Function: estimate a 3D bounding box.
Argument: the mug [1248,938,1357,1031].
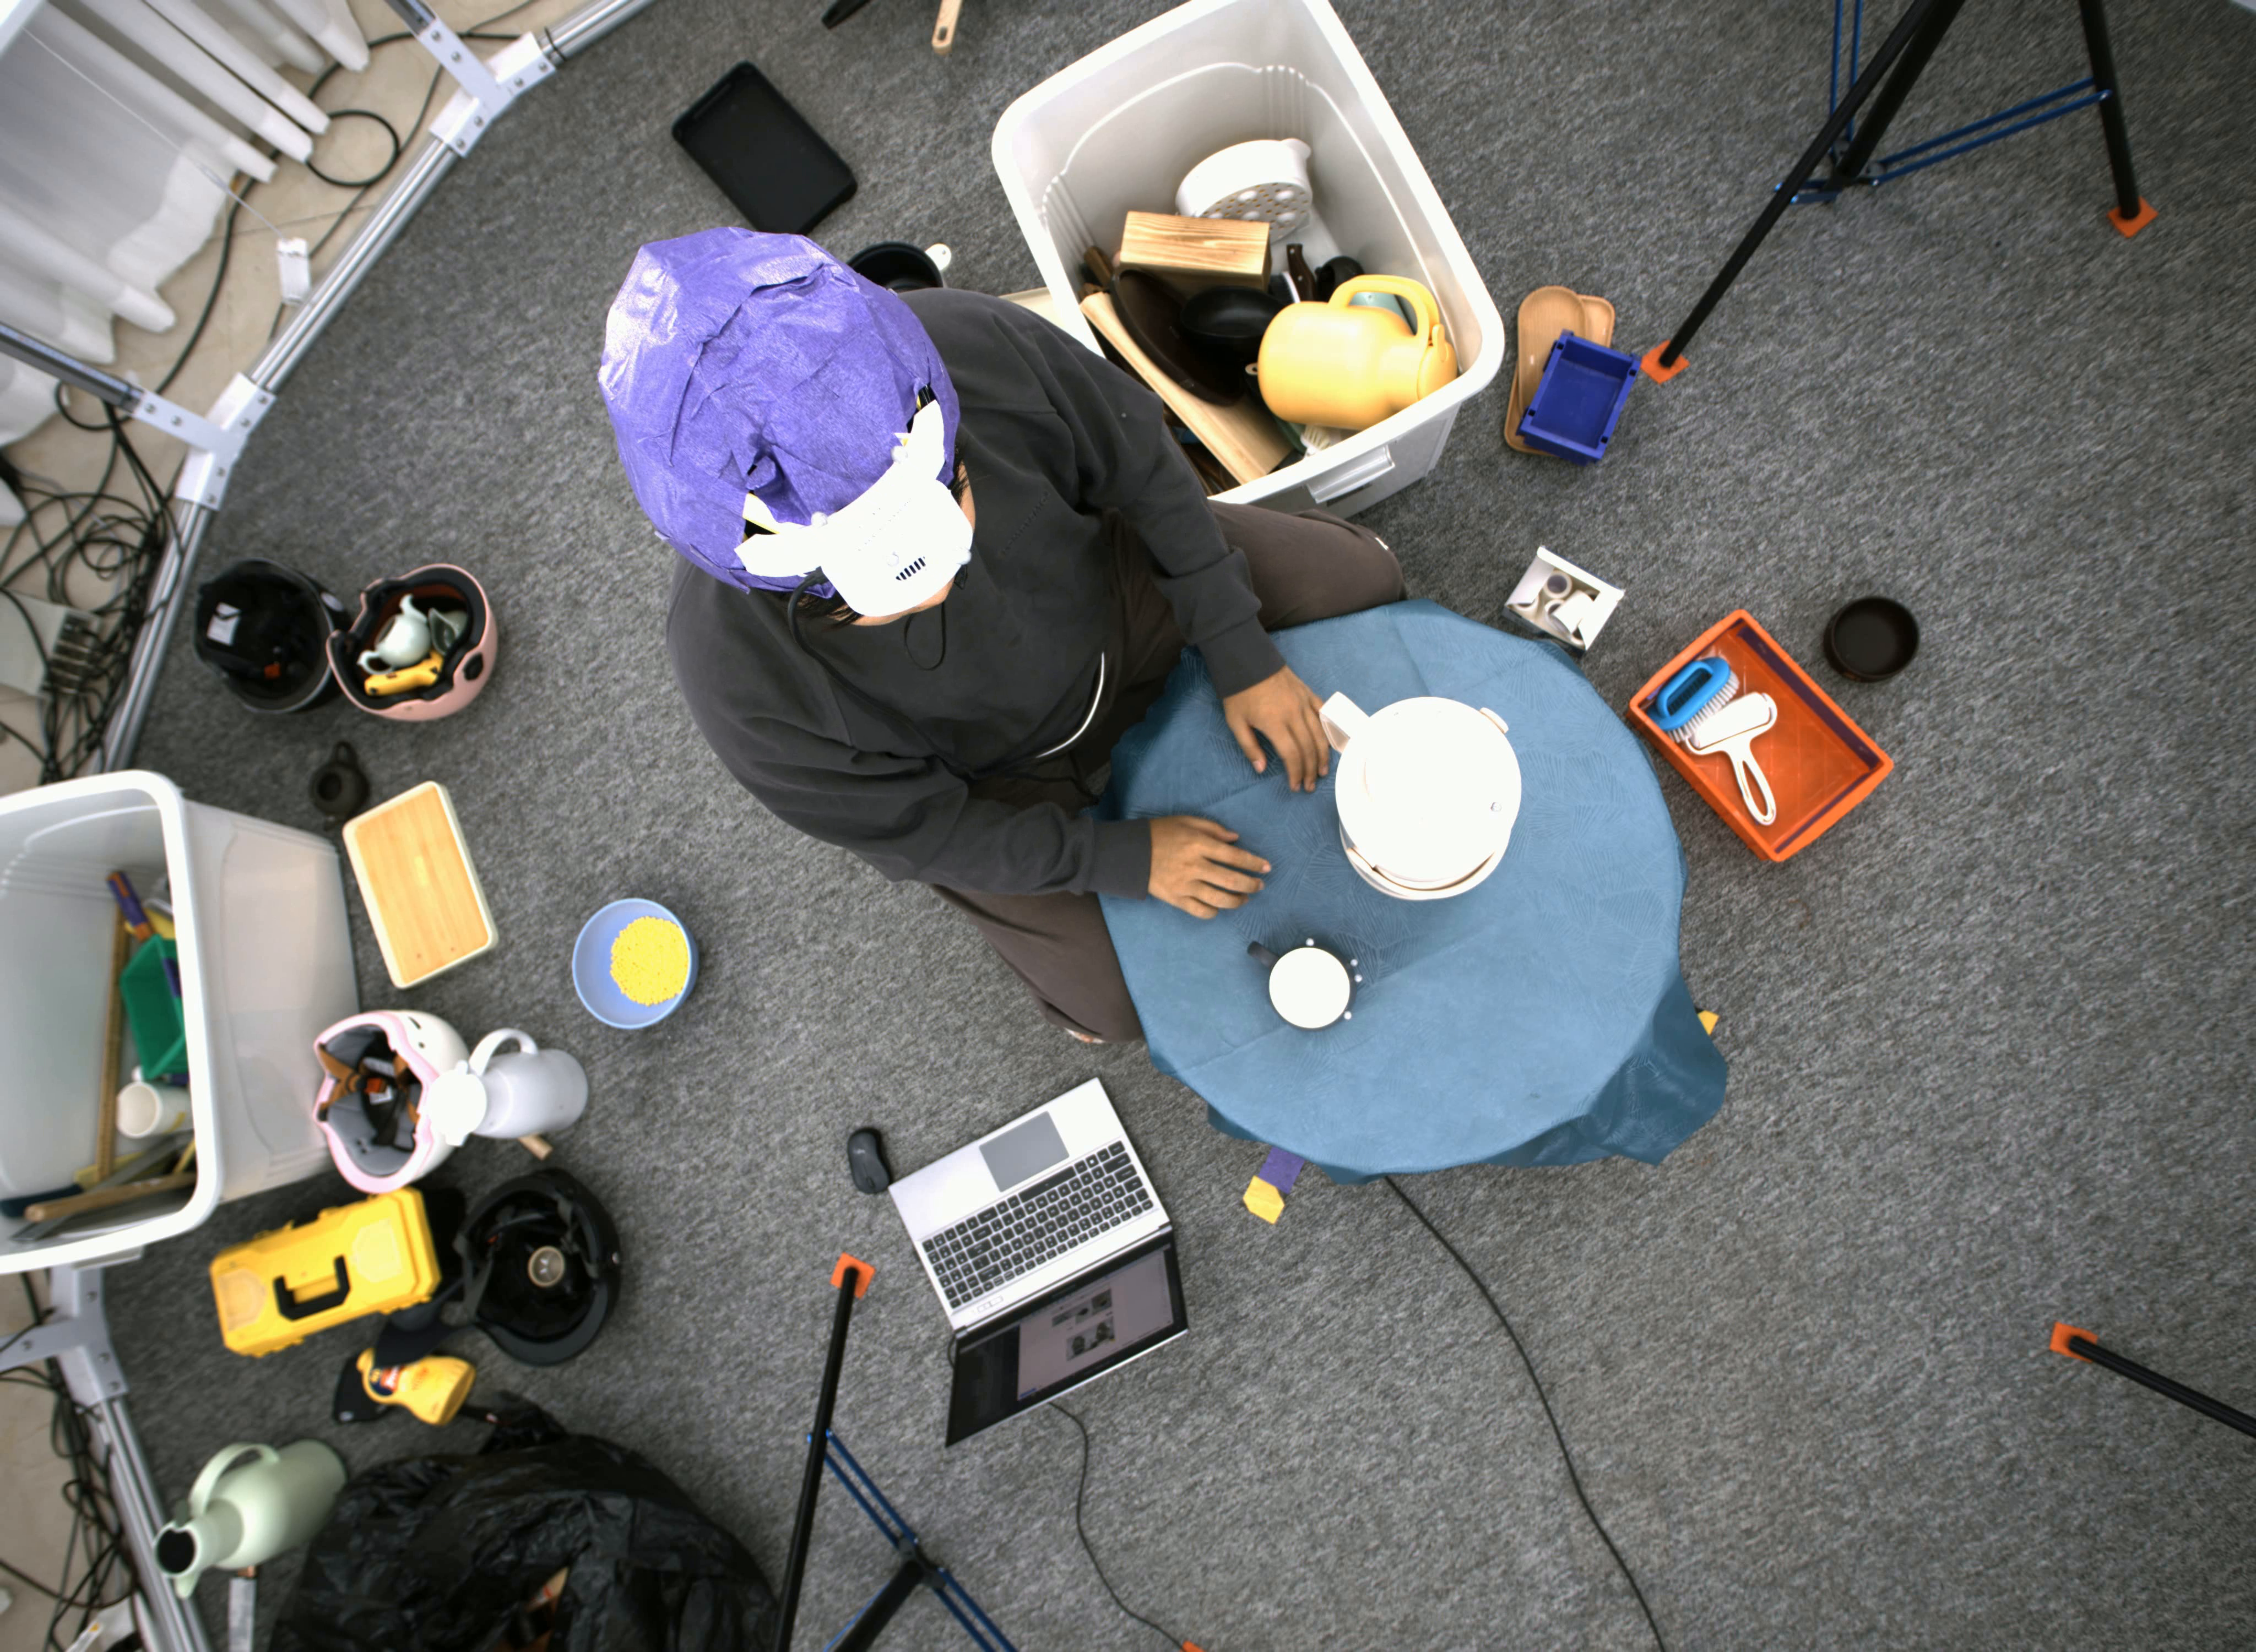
[{"bbox_3d":[0.176,0.155,1.427,0.123,0.090,0.094,36,92,11],"label":"mug"}]

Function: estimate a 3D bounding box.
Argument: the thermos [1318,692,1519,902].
[{"bbox_3d":[0.260,-0.033,1.268,0.206,0.407,0.176,43,93,11],"label":"thermos"}]
